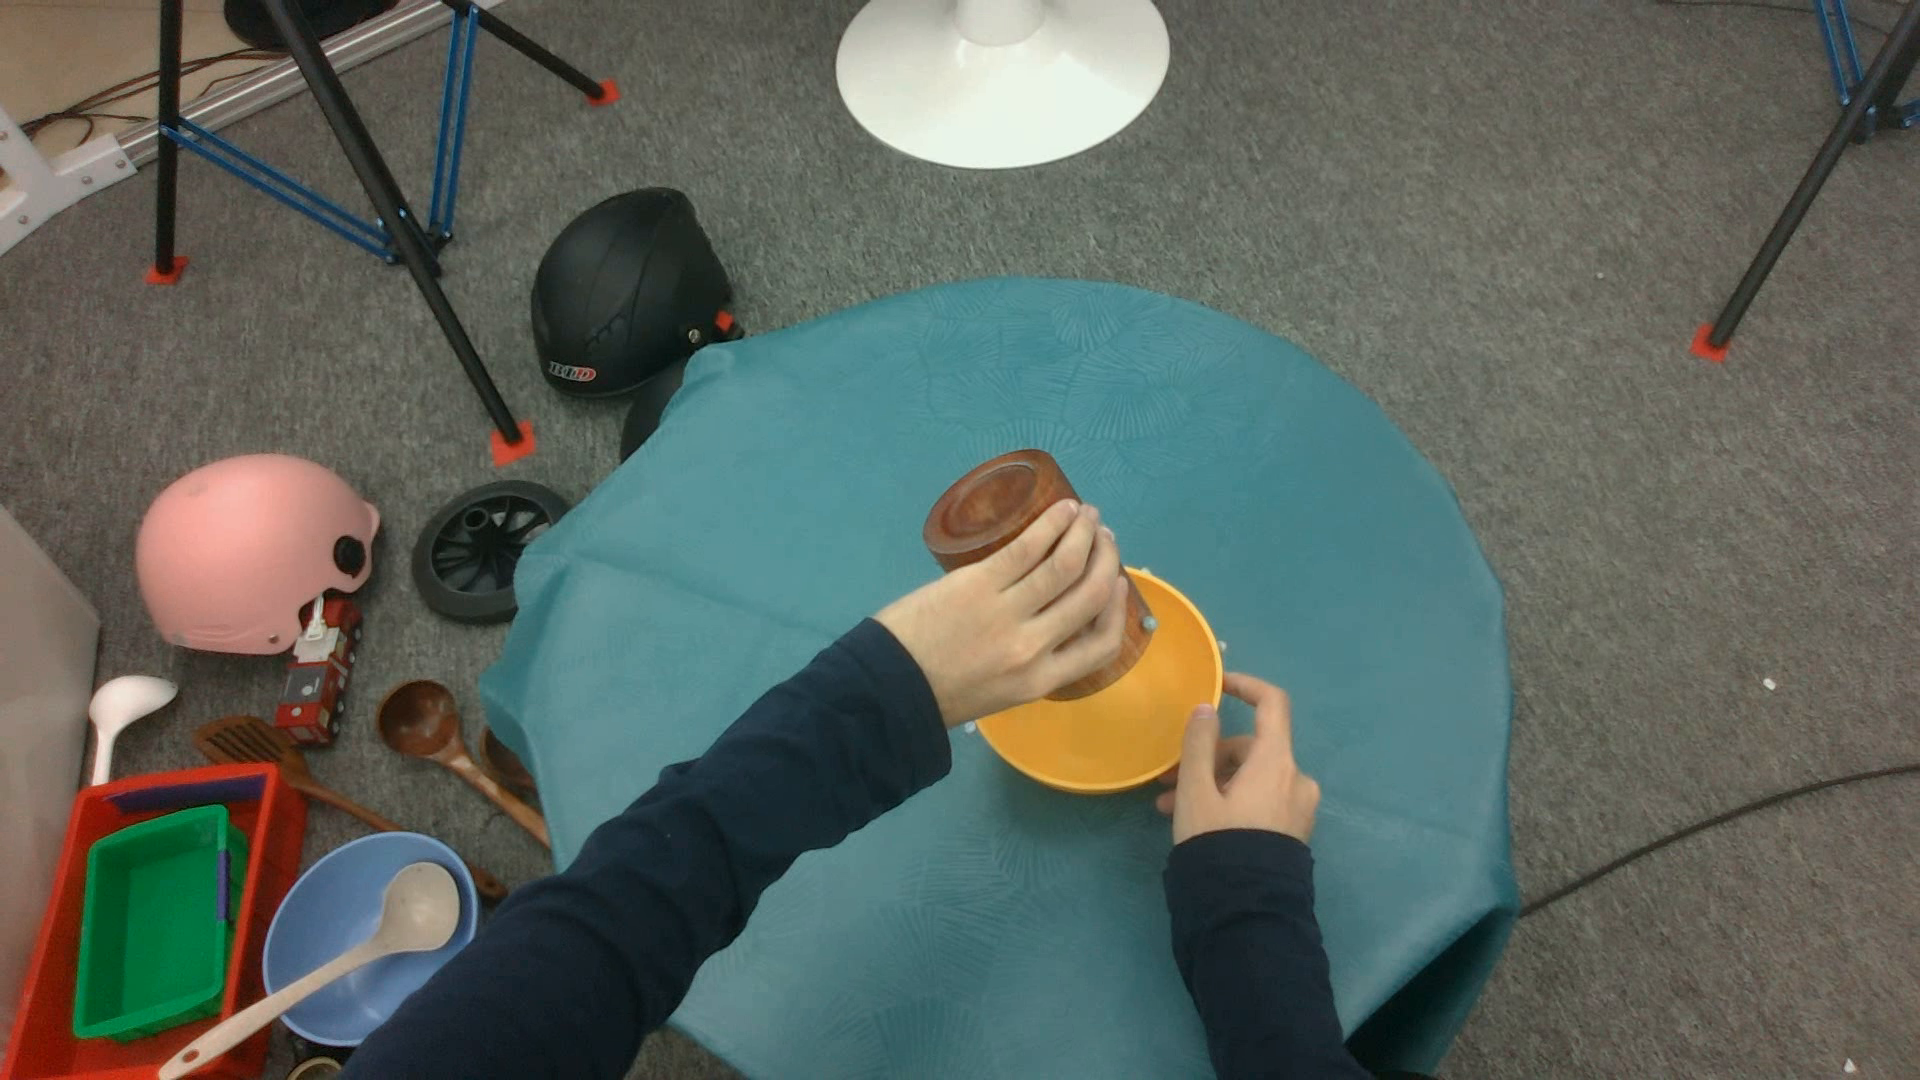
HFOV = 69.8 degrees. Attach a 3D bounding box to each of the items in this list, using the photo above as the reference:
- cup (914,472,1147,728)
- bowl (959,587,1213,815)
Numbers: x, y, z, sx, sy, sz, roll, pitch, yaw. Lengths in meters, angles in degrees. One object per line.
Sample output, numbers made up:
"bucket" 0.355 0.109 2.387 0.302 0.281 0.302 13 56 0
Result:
"cup" 0.038 0.033 0.741 0.087 0.118 0.088 -27 27 15
"bowl" 0.074 0.102 0.808 0.145 0.060 0.146 -3 56 5
